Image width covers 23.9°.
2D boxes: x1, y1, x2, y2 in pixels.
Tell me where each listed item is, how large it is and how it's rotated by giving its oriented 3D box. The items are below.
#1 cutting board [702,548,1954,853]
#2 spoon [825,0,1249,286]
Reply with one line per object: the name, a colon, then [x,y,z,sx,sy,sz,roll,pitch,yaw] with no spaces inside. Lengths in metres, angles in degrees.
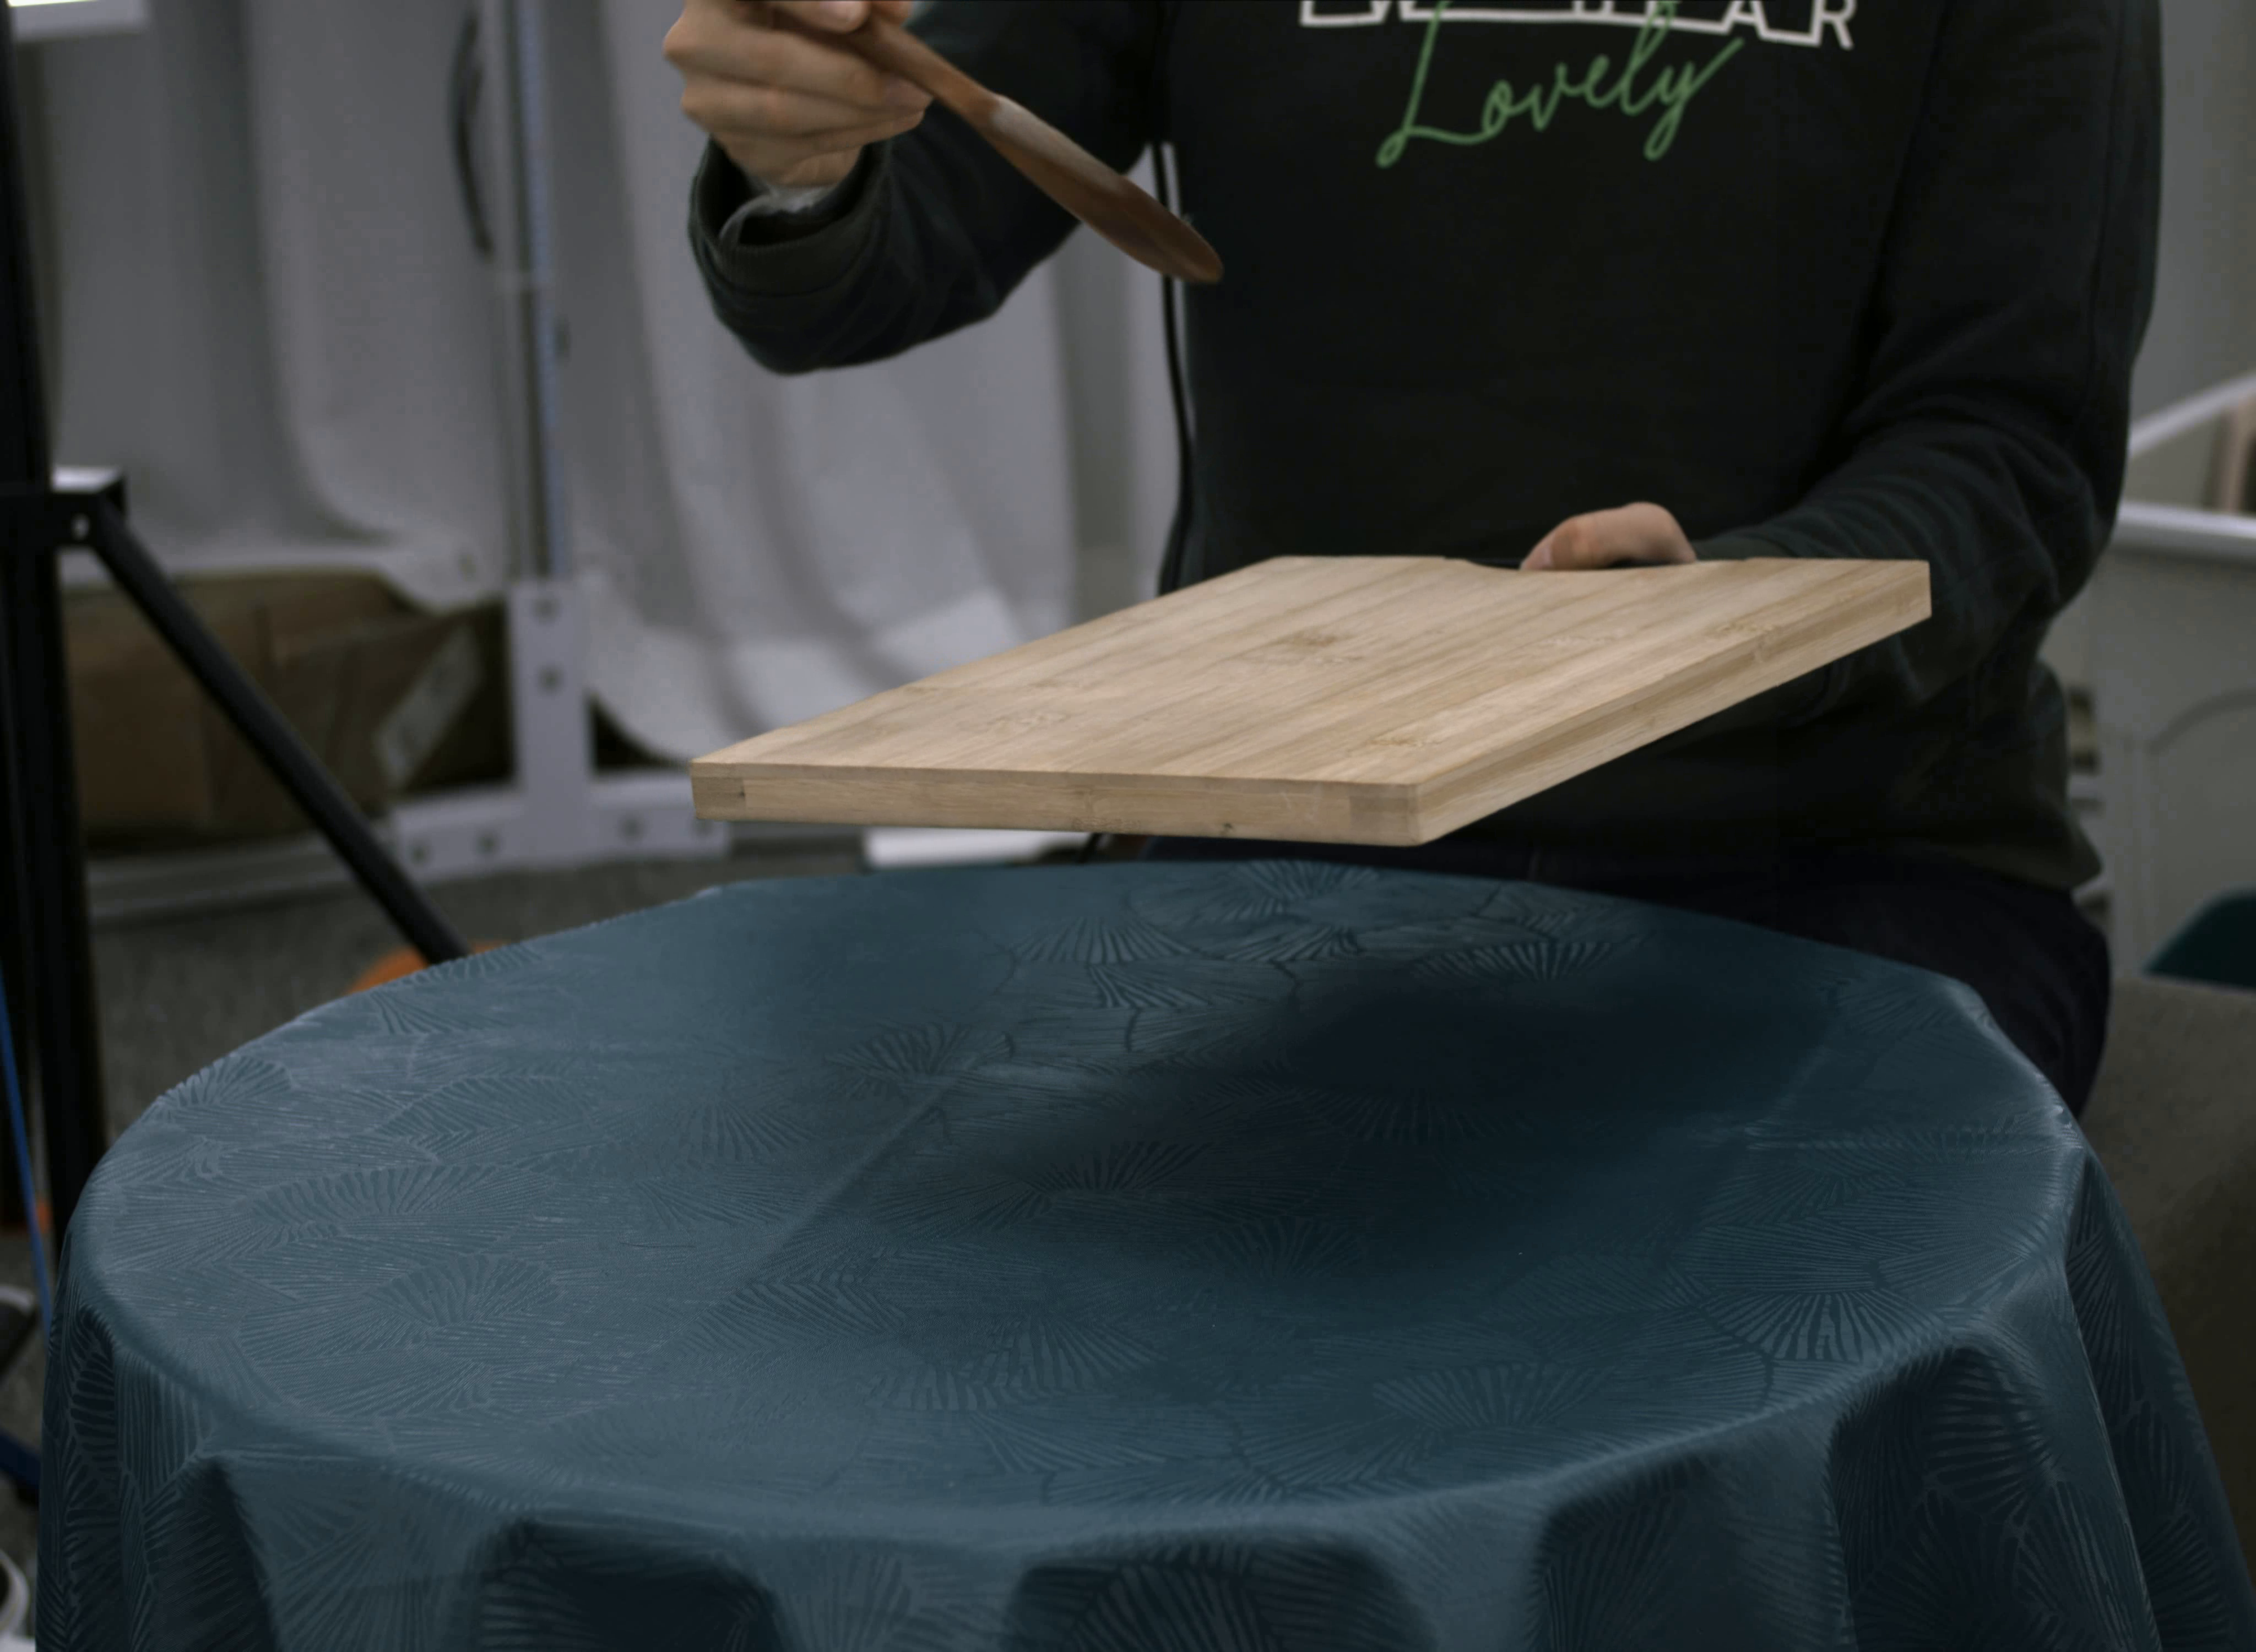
cutting board: [0.067,-0.043,1.602,0.255,0.023,0.342,3,14,32]
spoon: [-0.039,-0.215,1.597,0.221,0.017,0.073,42,8,39]
